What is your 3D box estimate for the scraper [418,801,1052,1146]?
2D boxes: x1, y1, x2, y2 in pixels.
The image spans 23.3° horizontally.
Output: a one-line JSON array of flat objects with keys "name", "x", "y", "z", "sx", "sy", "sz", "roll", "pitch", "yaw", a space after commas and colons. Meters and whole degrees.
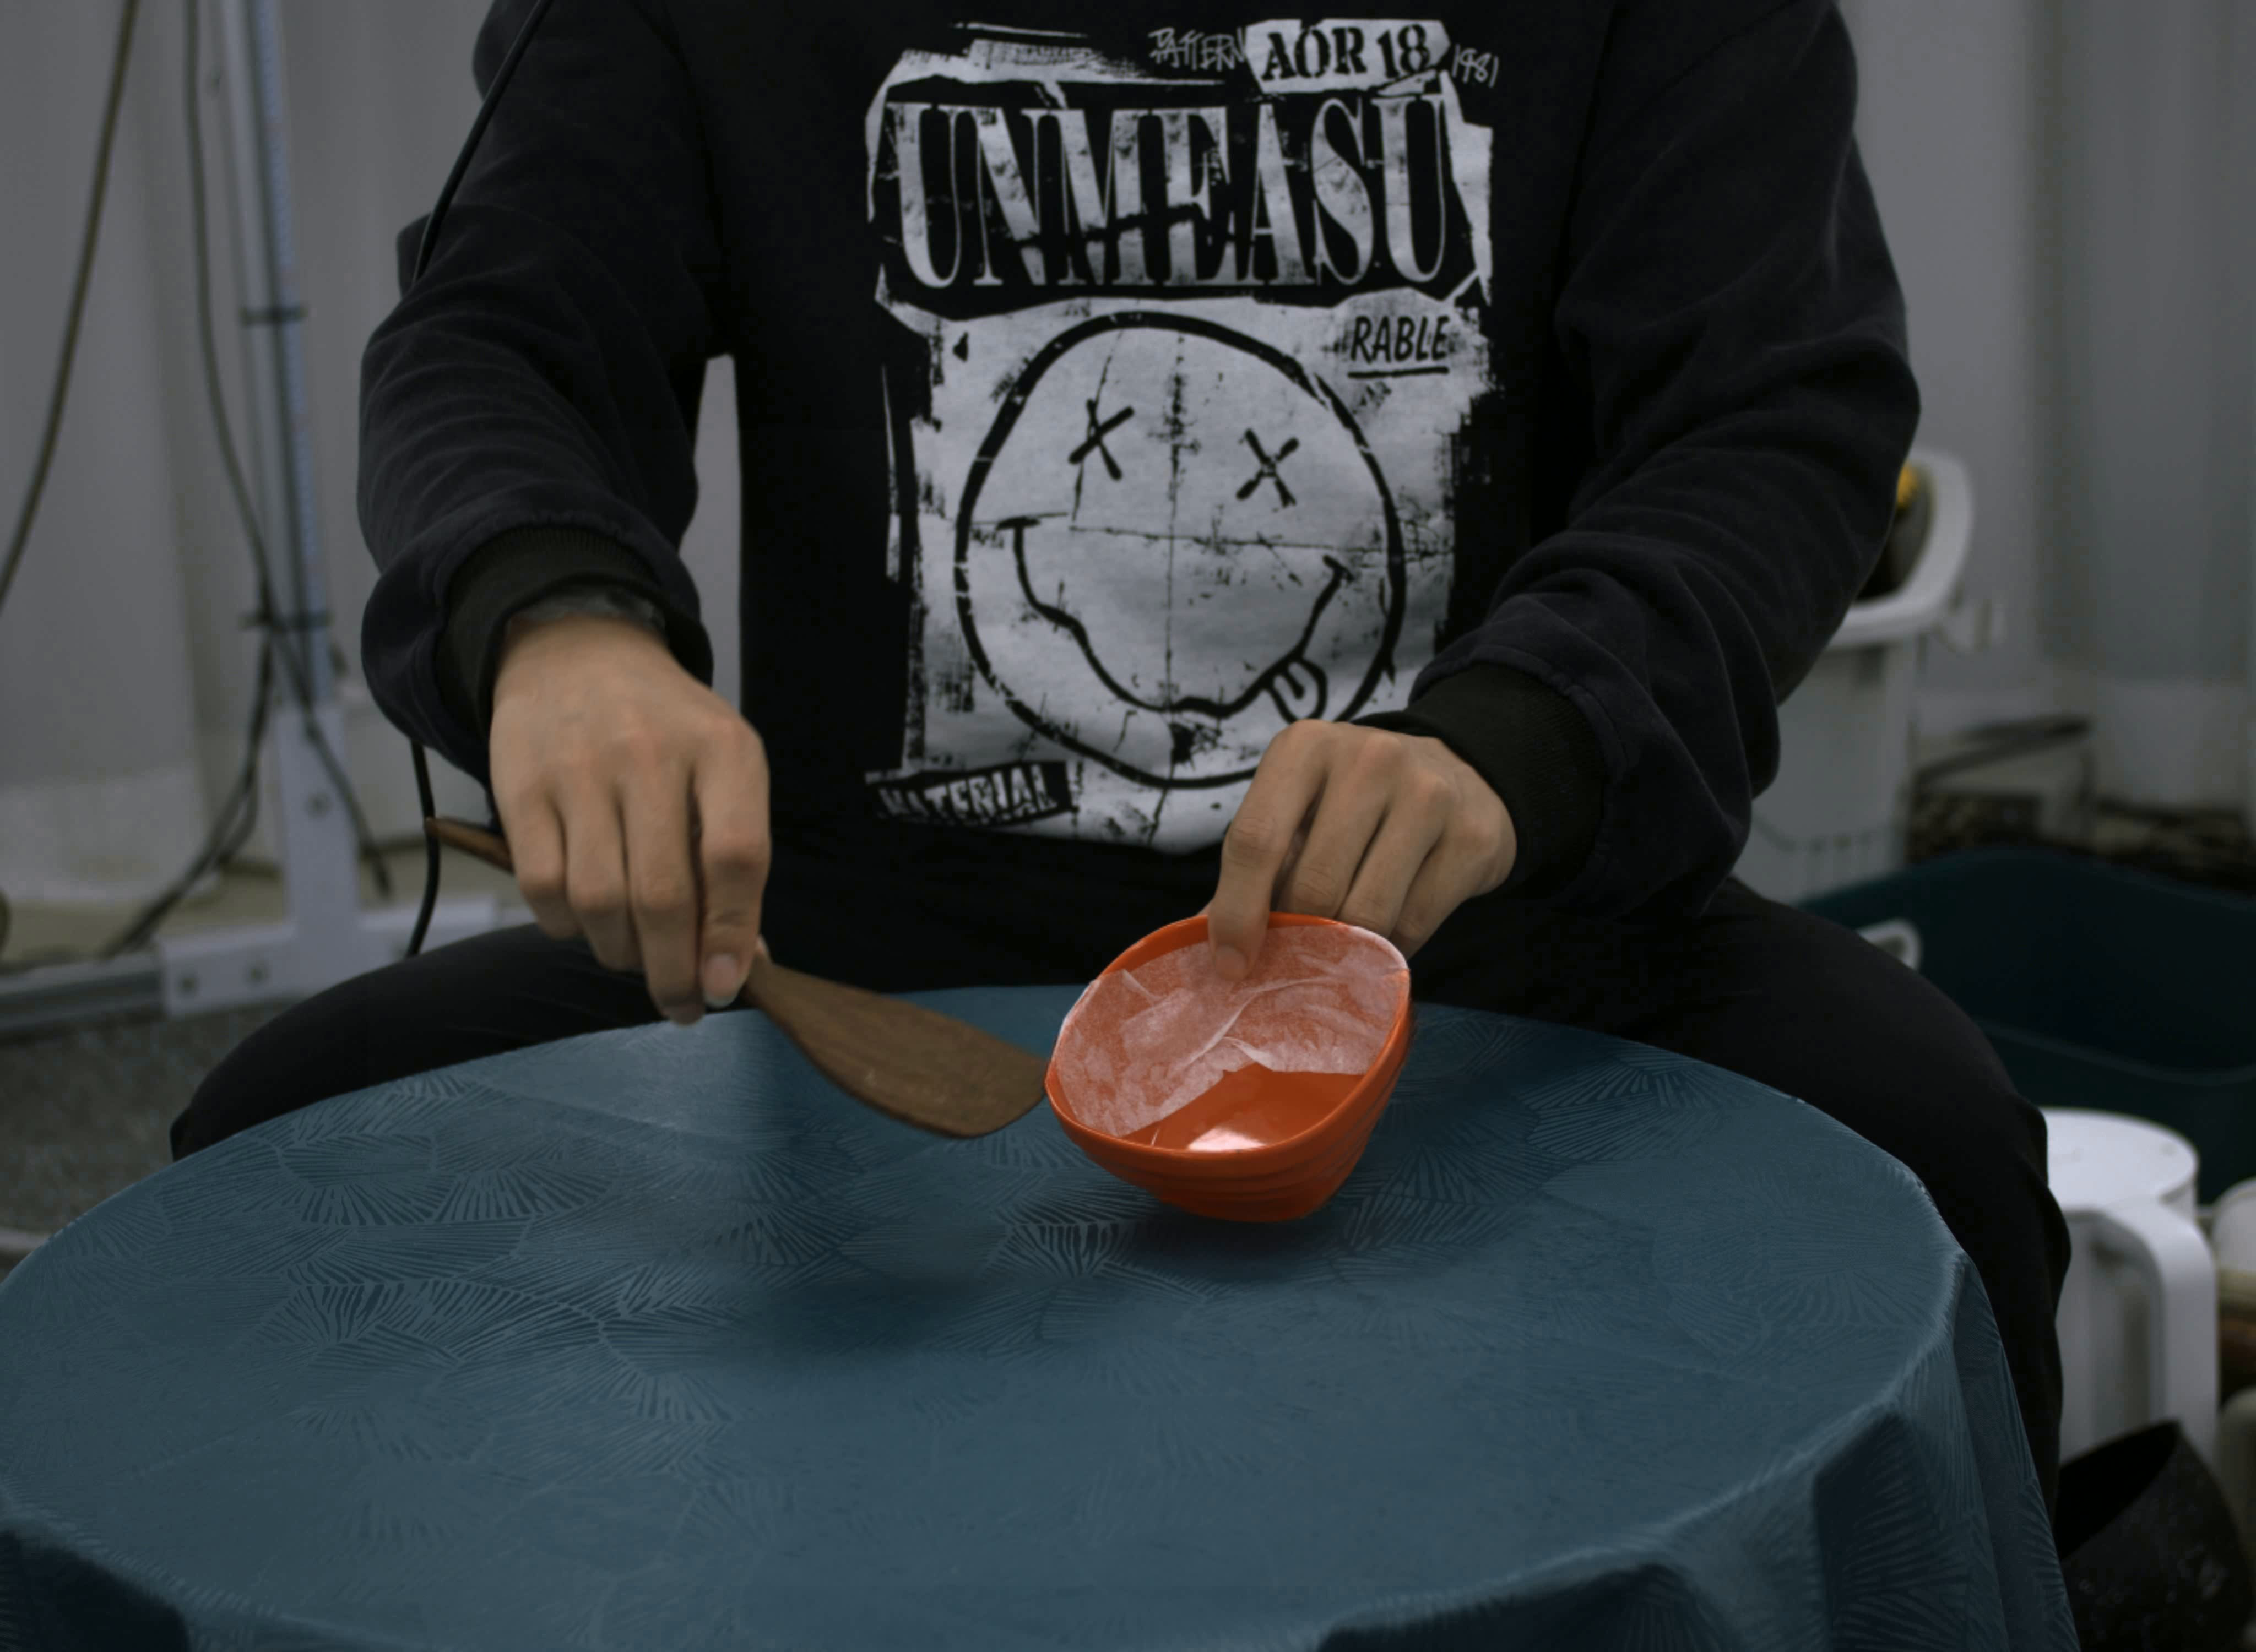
[{"name": "scraper", "x": -0.122, "y": 0.043, "z": 1.648, "sx": 0.212, "sy": 0.011, "sz": 0.076, "roll": 27, "pitch": 22, "yaw": 15}]

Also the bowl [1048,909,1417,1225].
[{"name": "bowl", "x": 0.037, "y": 0.081, "z": 1.691, "sx": 0.118, "sy": 0.051, "sz": 0.120, "roll": -10, "pitch": 39, "yaw": 8}]
